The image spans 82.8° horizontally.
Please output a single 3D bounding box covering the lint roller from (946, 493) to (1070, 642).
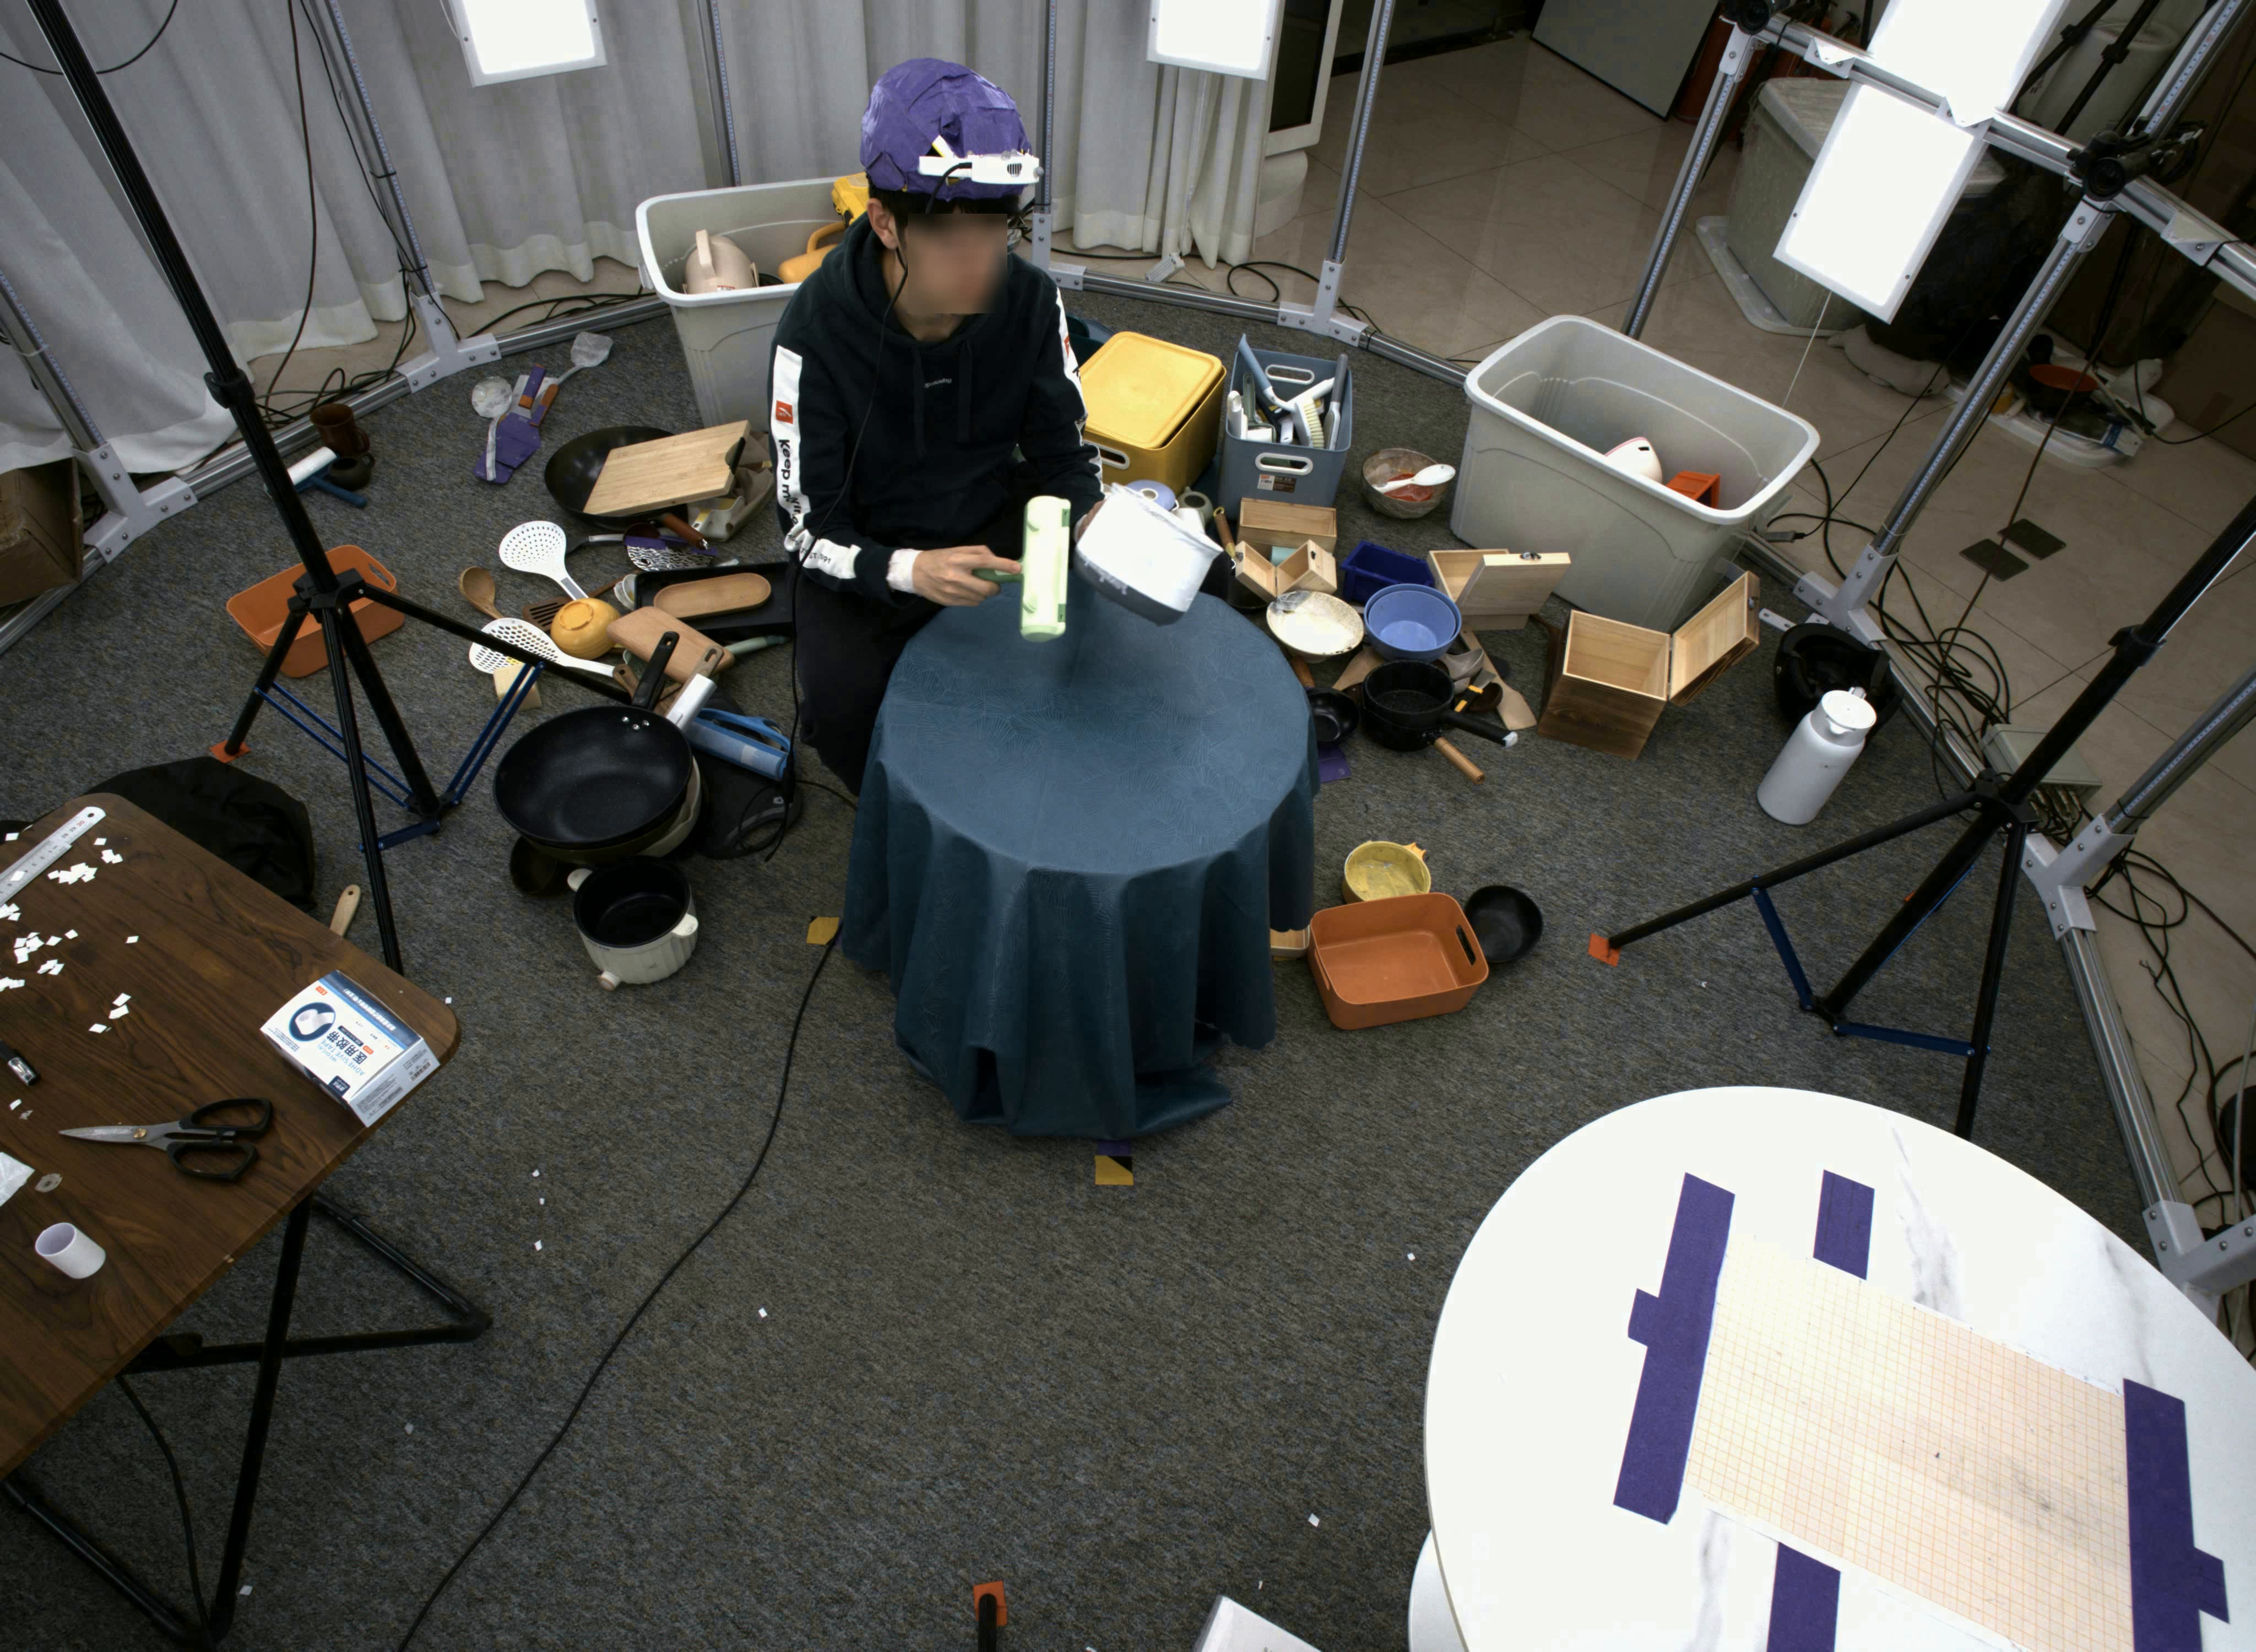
[{"bbox_3d":[-0.170,-0.351,1.750,0.183,0.081,0.200,0,80,12],"label":"lint roller"}]

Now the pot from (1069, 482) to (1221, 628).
[{"bbox_3d":[0.009,-0.382,1.785,0.176,0.135,0.239,21,20,-32],"label":"pot"}]
